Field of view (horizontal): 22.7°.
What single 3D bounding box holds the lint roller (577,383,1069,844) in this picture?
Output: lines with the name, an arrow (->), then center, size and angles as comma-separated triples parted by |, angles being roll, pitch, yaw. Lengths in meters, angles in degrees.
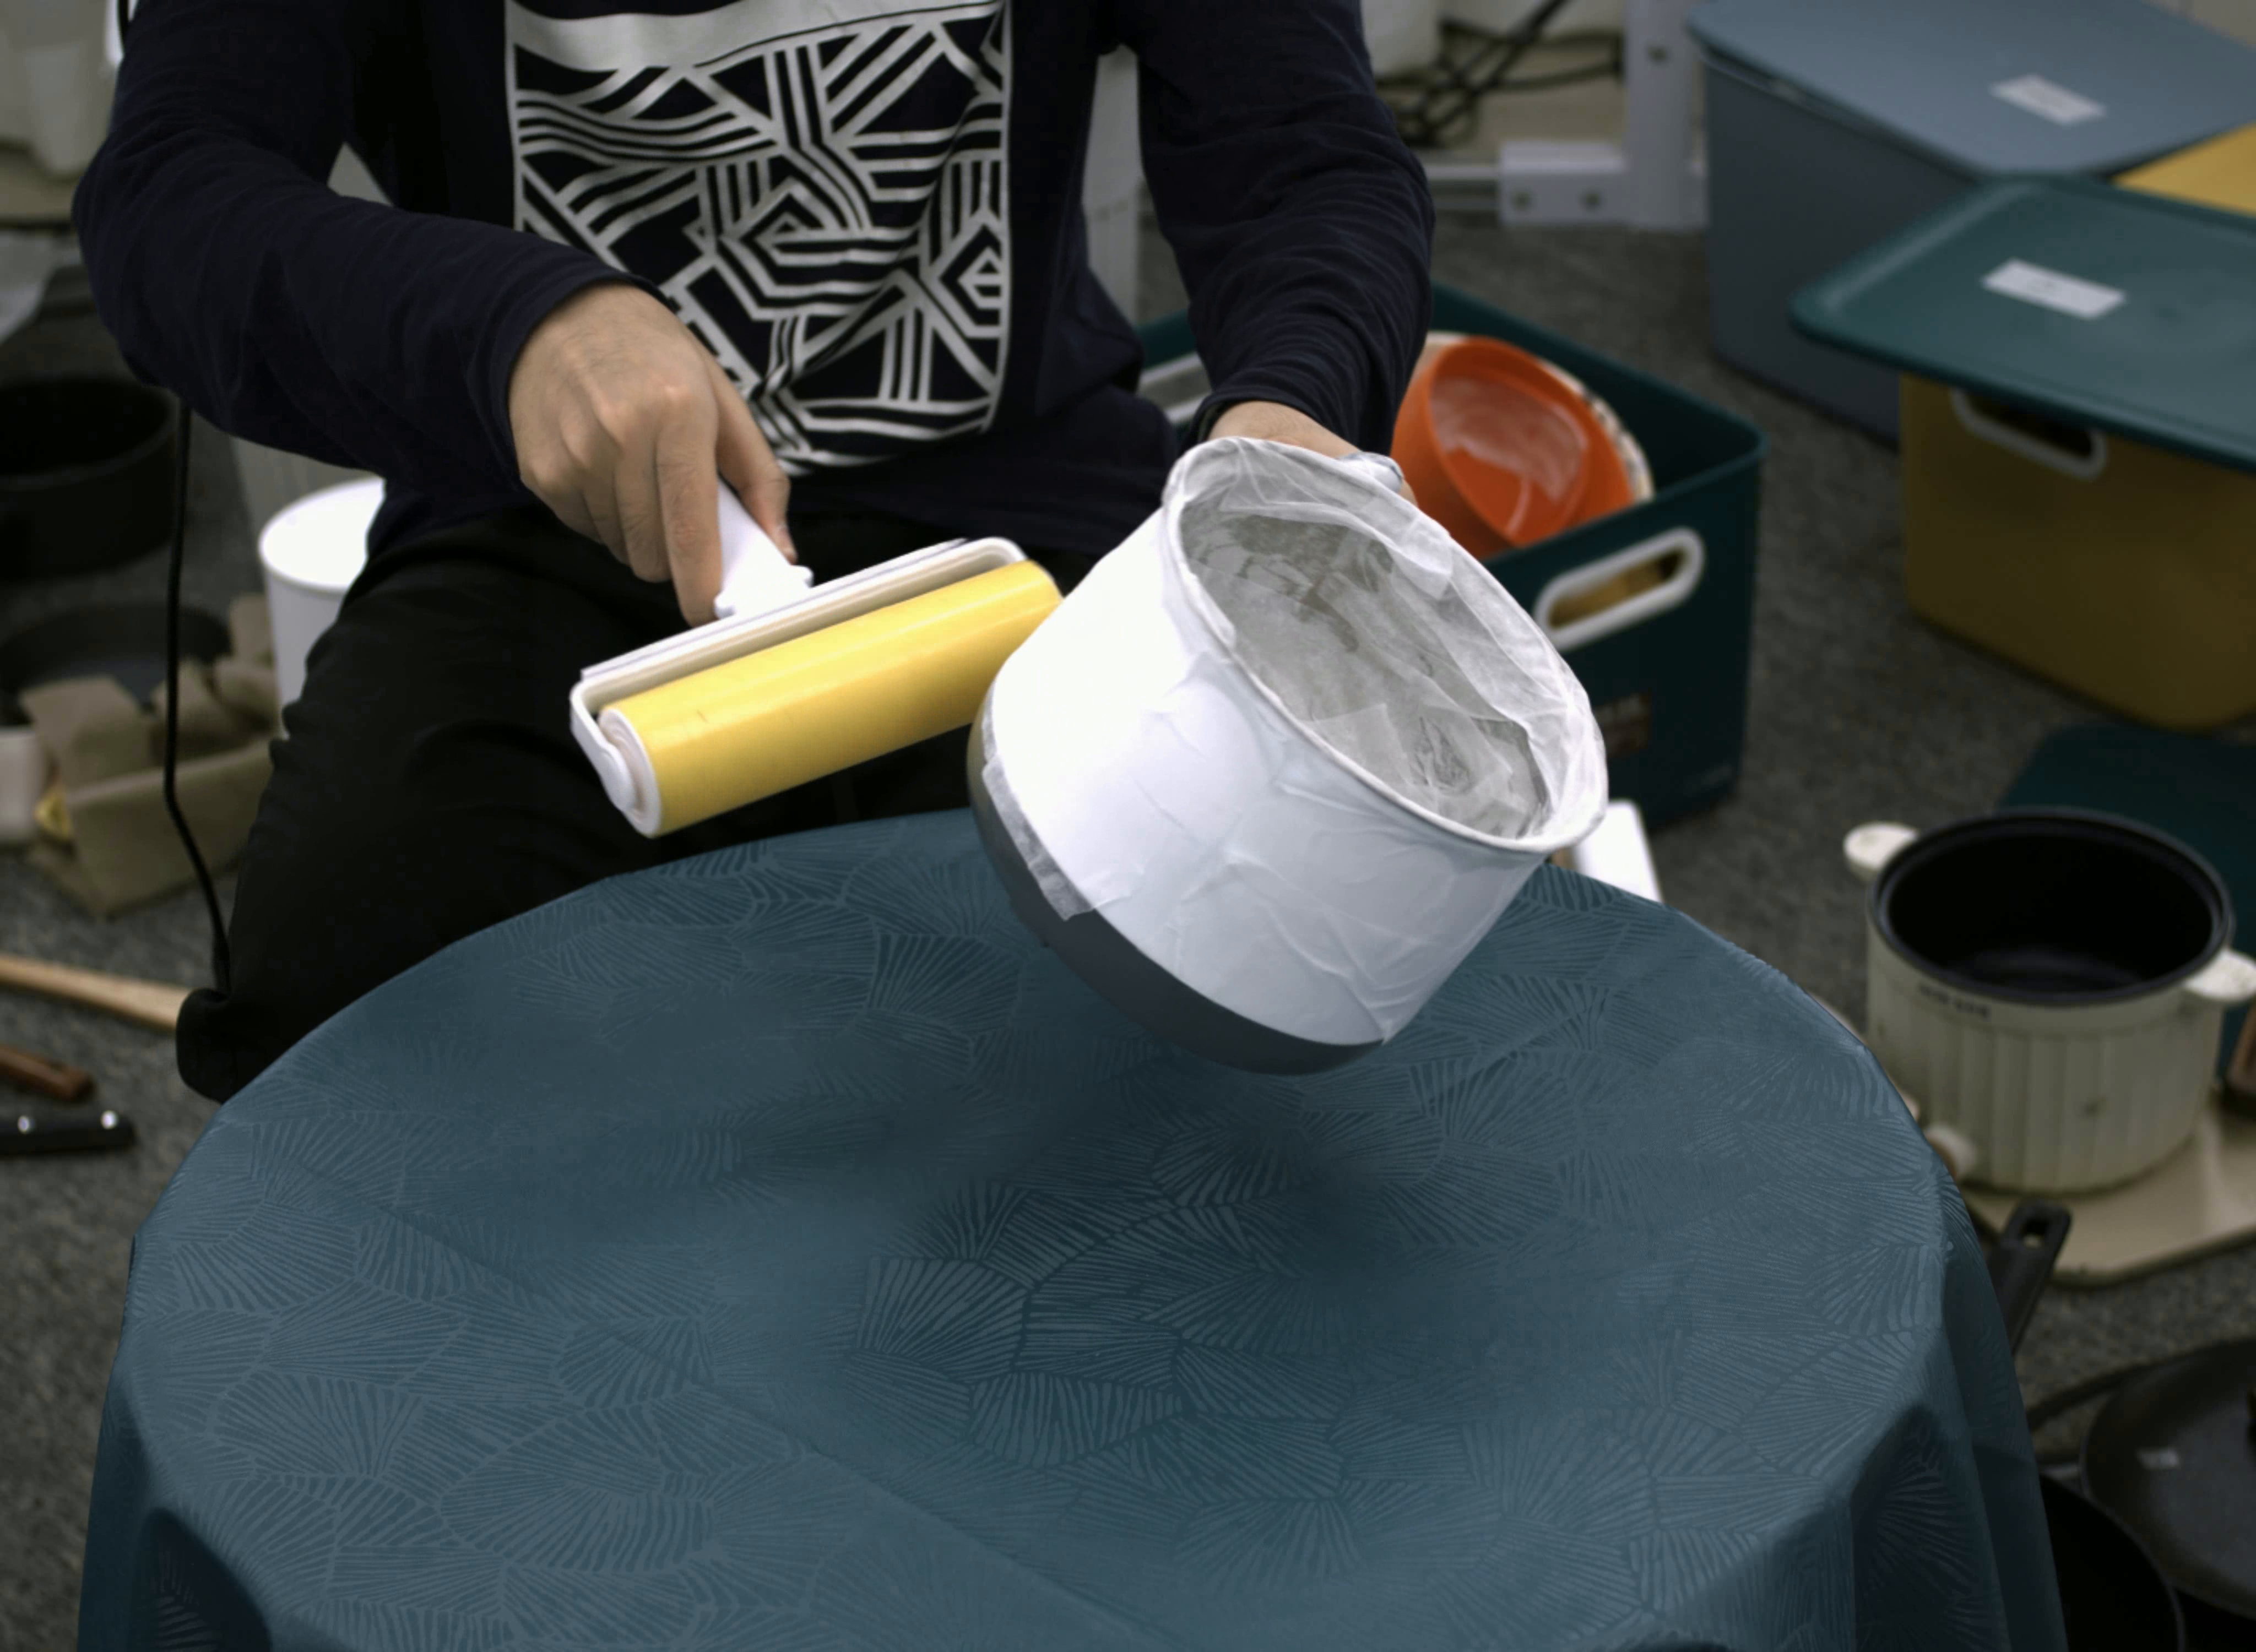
lint roller -> -0.133, -0.094, 1.929 | 0.175, 0.050, 0.194 | -22, 60, -25

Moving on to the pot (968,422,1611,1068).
pot -> 0.047, -0.039, 1.835 | 0.178, 0.134, 0.238 | 31, 32, -21
